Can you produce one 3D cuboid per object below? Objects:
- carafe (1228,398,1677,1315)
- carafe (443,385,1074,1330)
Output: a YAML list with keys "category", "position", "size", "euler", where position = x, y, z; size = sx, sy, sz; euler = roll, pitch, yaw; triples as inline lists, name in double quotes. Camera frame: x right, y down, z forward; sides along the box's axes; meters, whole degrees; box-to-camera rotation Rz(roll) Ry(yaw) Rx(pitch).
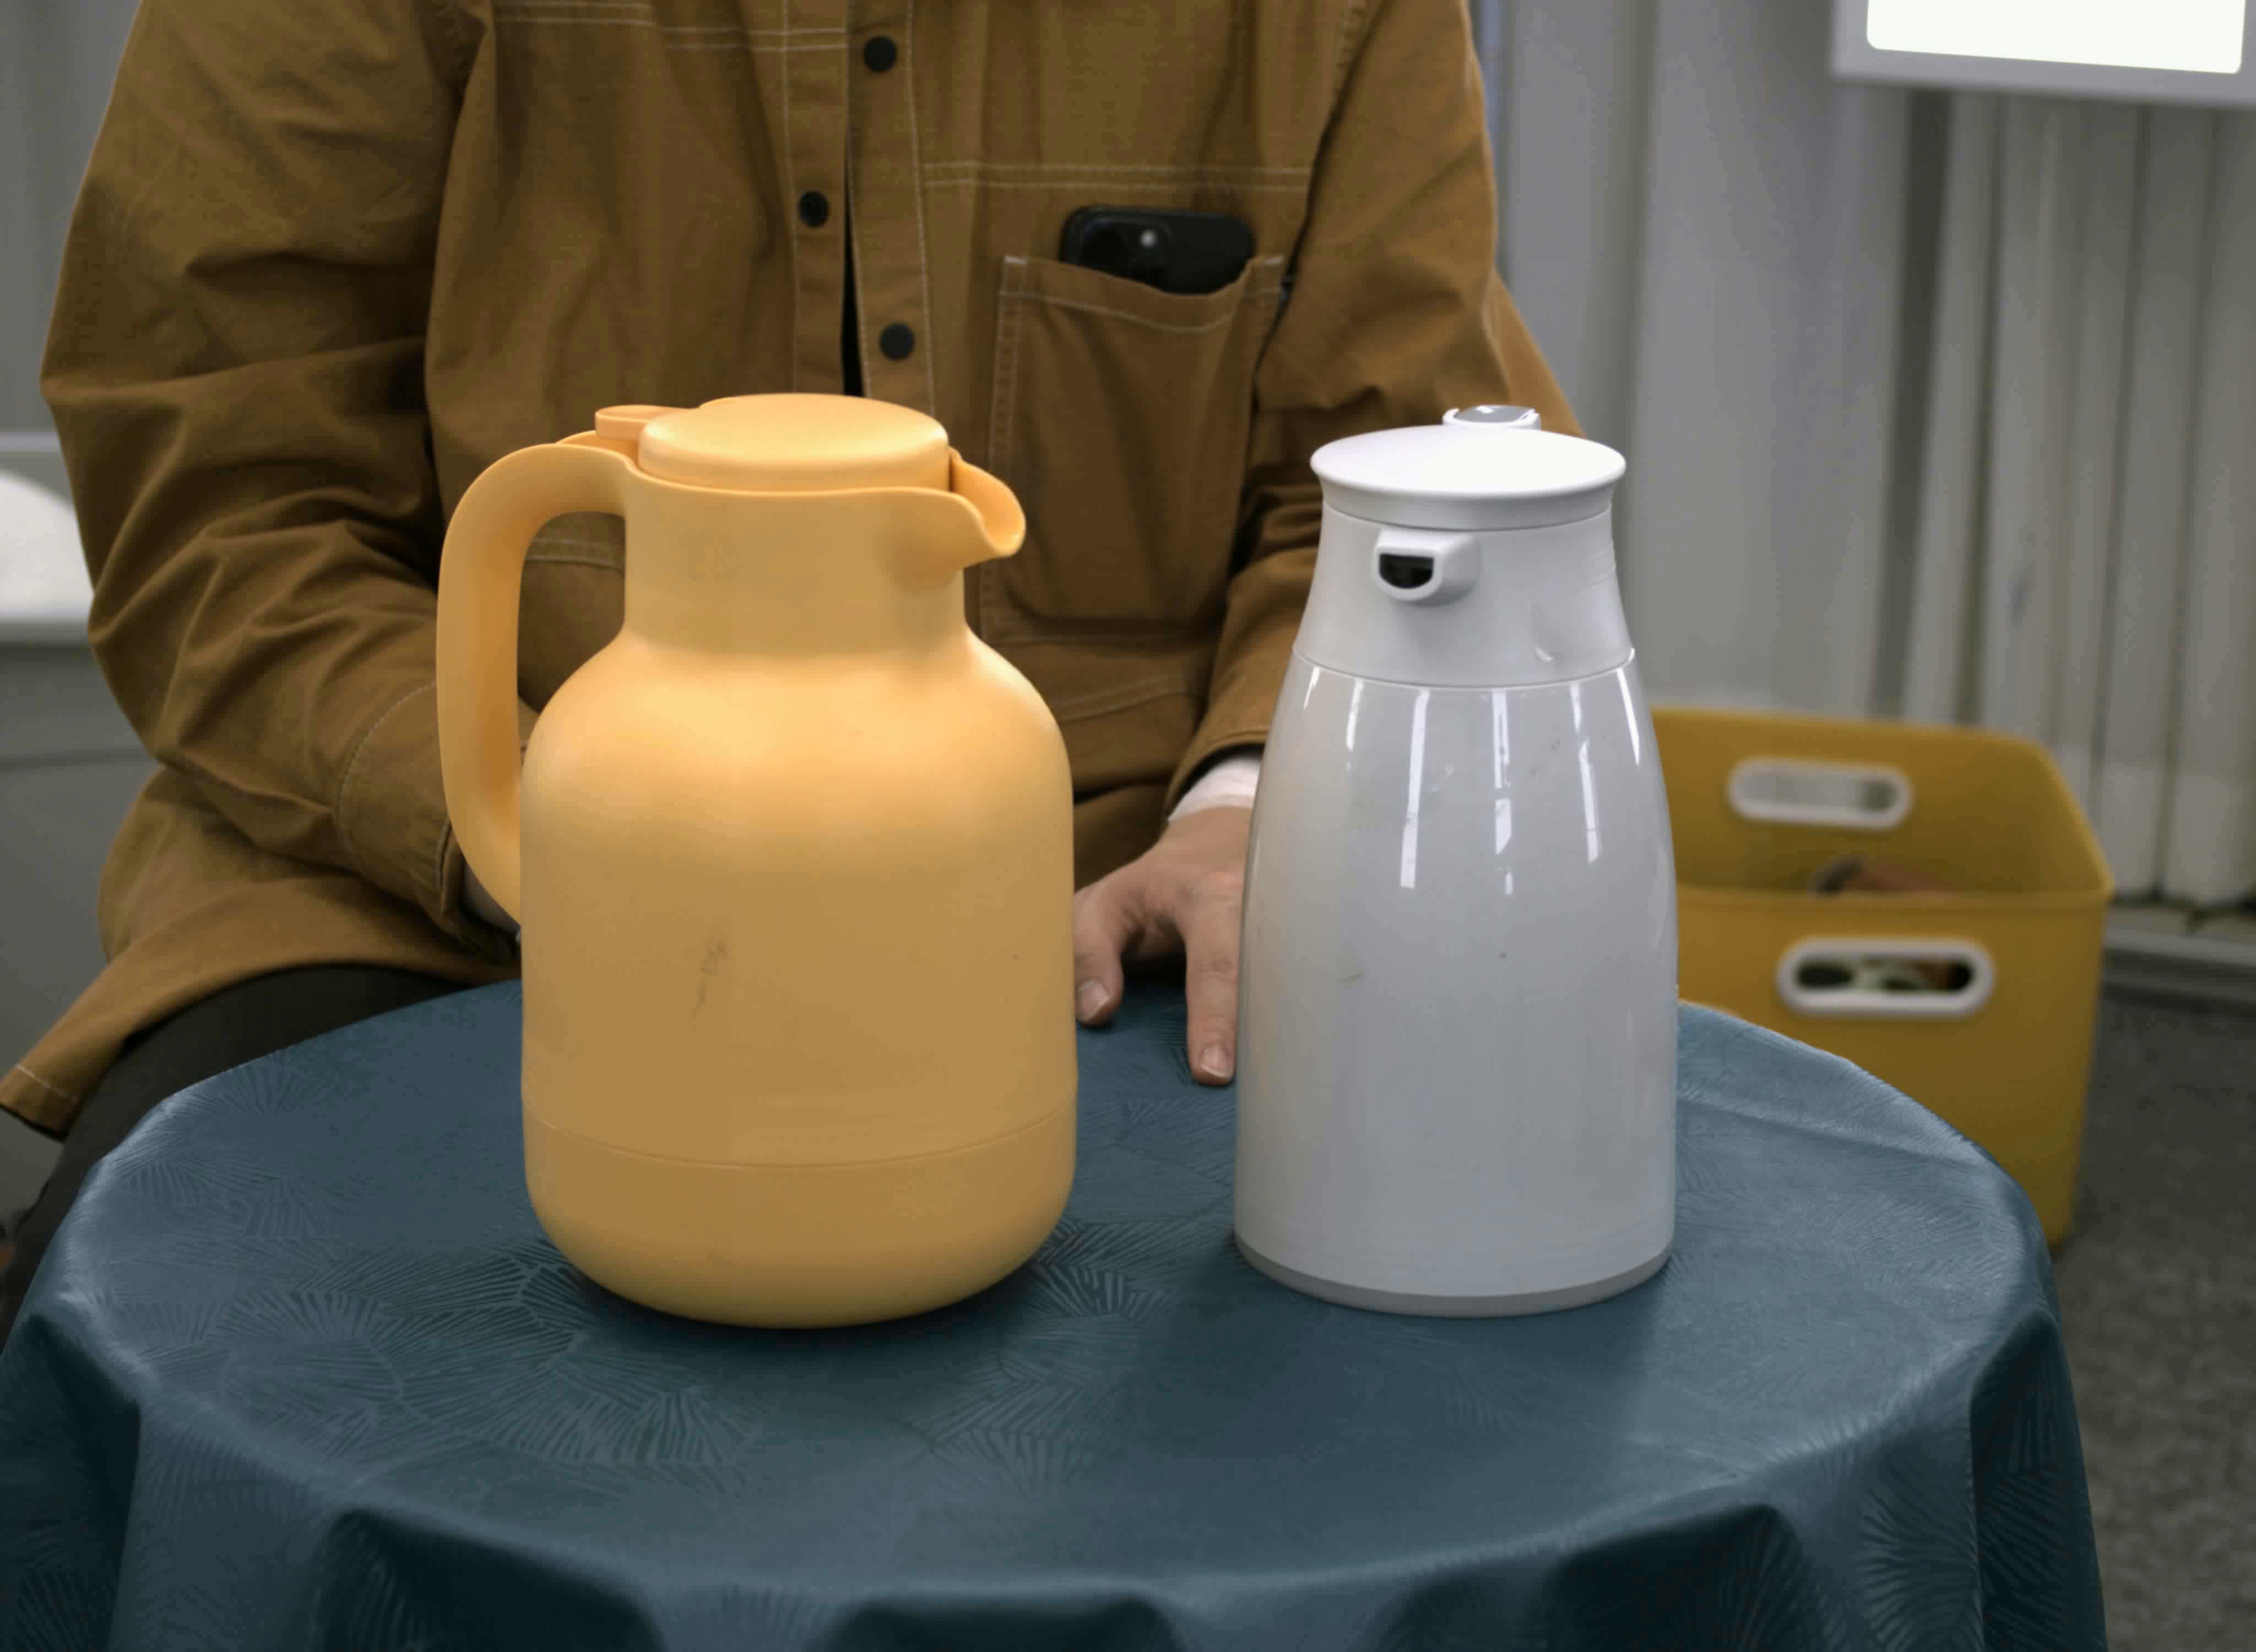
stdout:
- category: "carafe"
  position: [0.102, 0.000, 1.564]
  size: [0.131, 0.250, 0.168]
  euler: [5, 16, 17]
- category: "carafe"
  position: [-0.111, 0.002, 1.531]
  size: [0.200, 0.262, 0.164]
  euler: [12, 18, 31]
